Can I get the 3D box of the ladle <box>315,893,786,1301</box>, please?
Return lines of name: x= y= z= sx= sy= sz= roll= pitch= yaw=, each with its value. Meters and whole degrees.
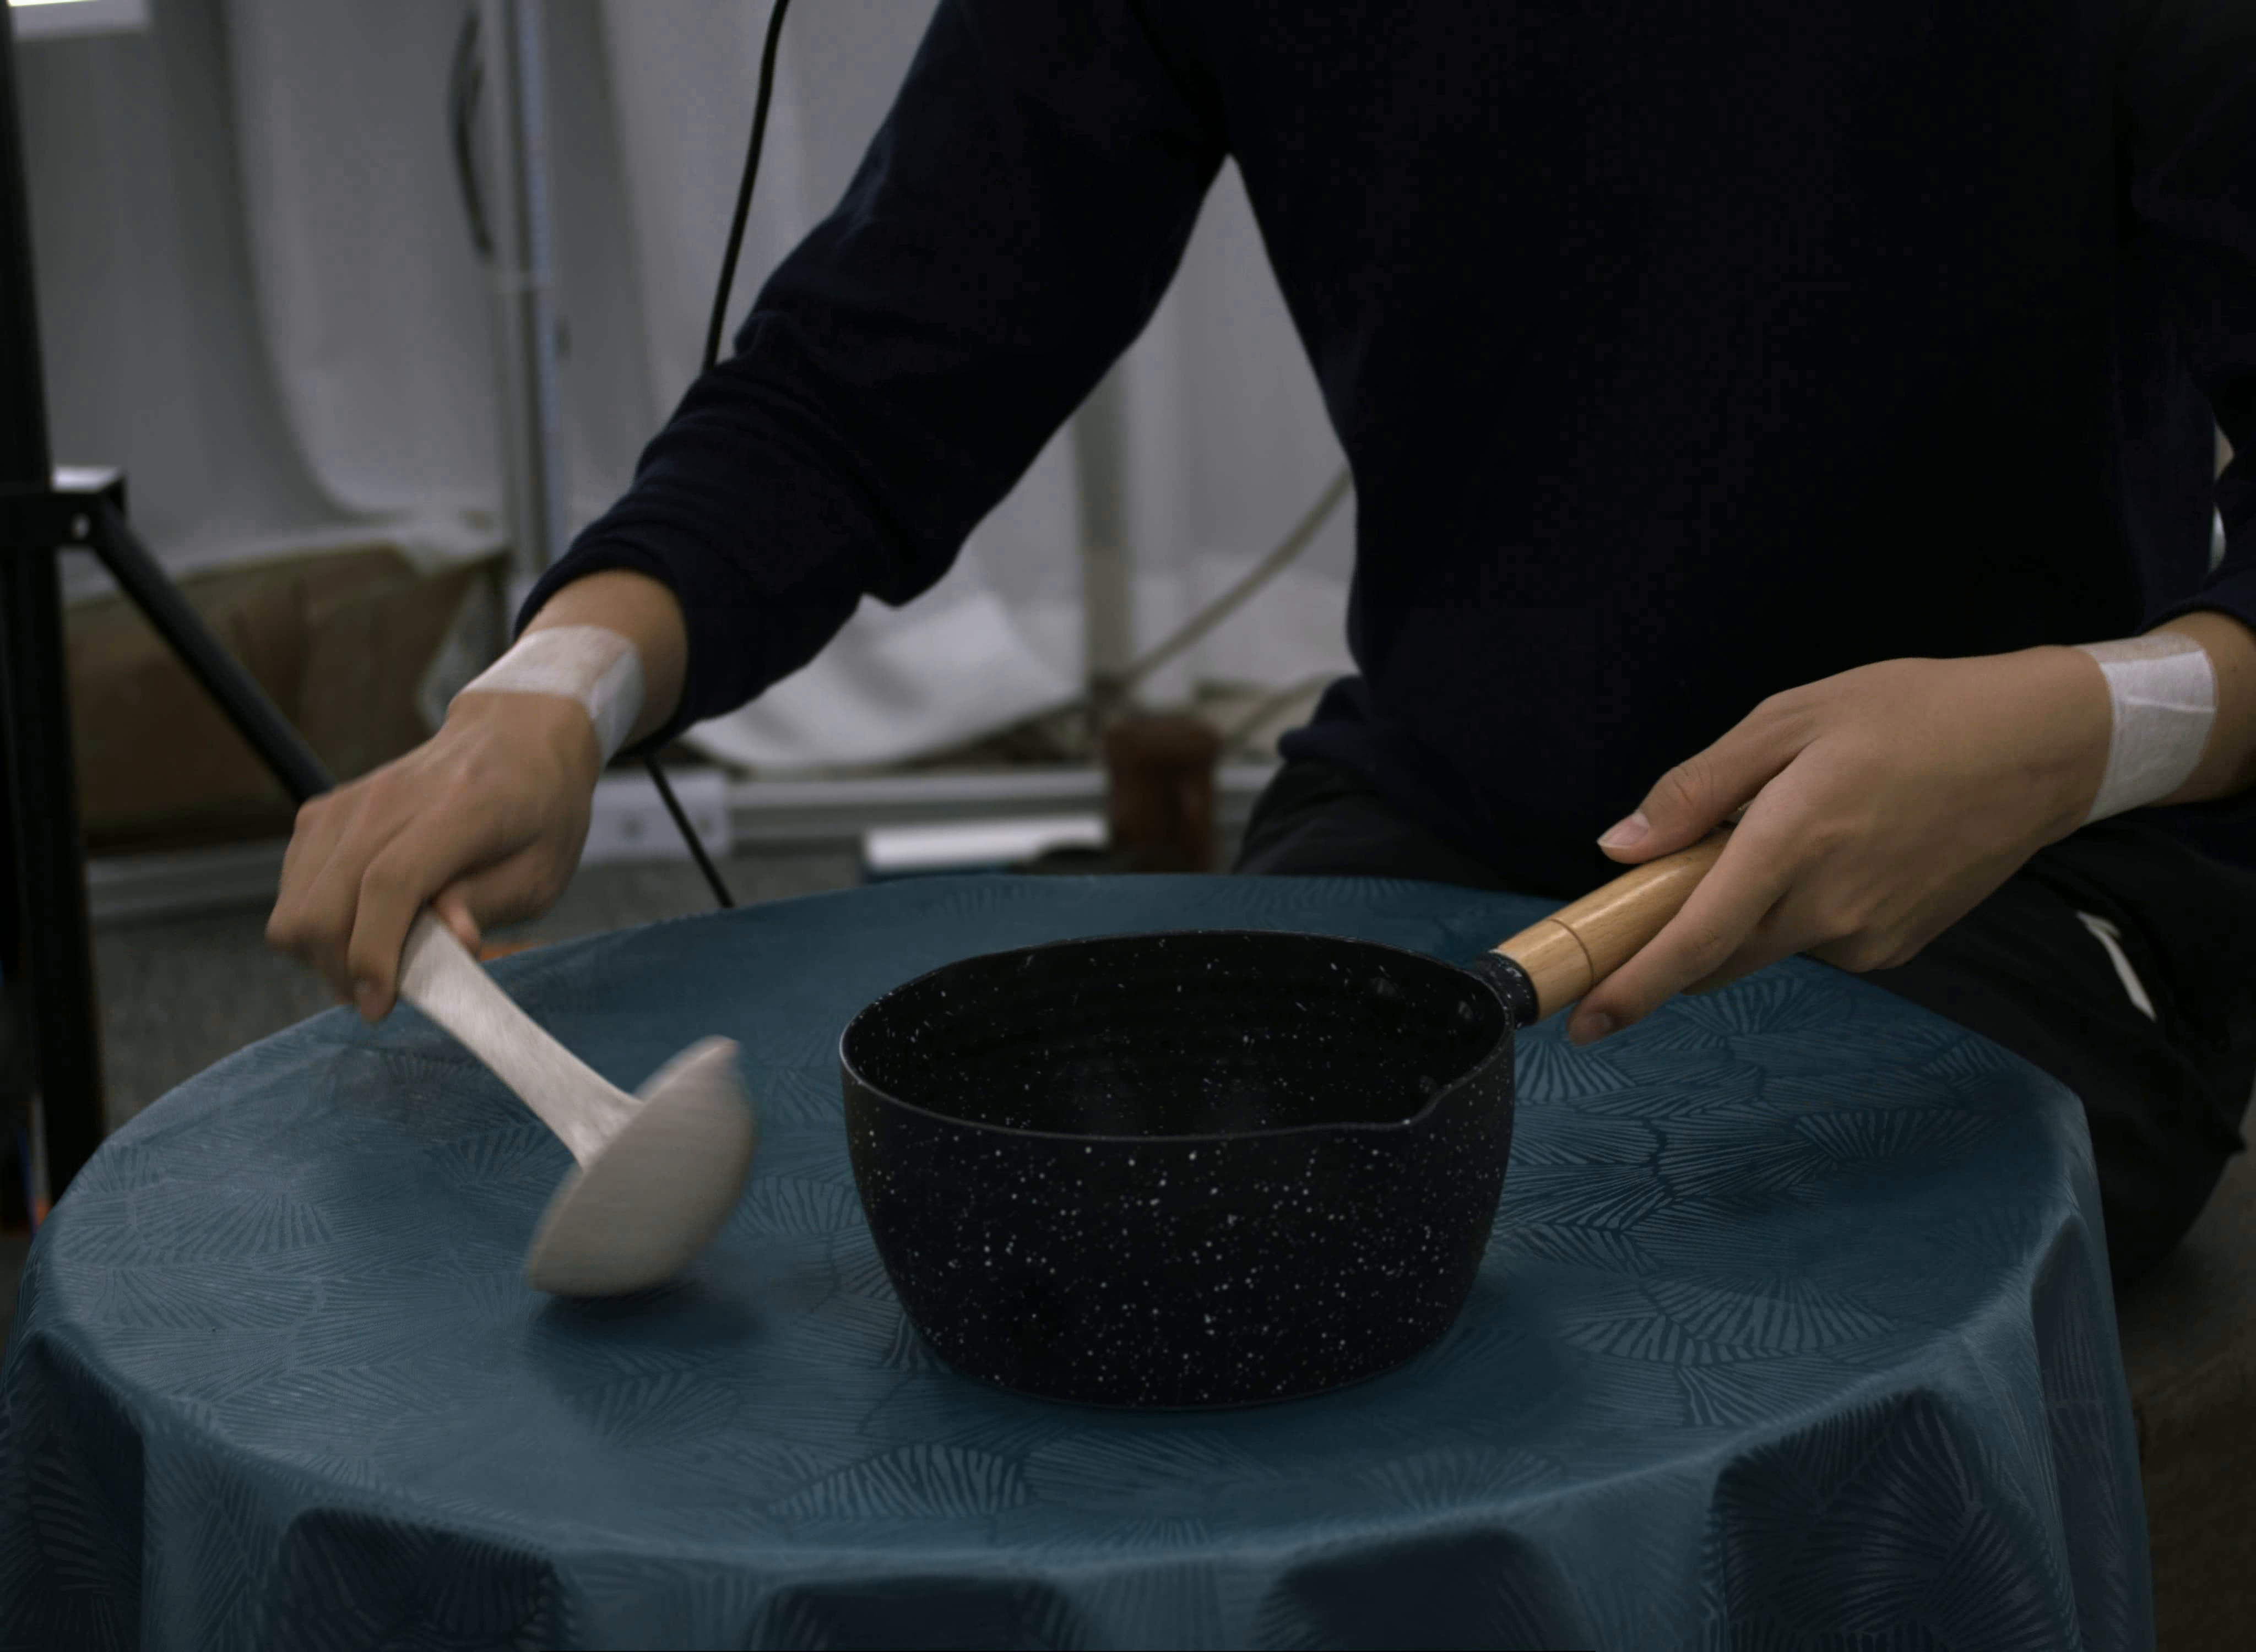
ladle: x=-0.191 y=0.058 z=1.572 sx=0.089 sy=0.068 sz=0.281 roll=-51 pitch=41 yaw=-6

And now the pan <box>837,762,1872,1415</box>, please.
pan: x=0.078 y=0.068 z=1.488 sx=0.335 sy=0.108 sz=0.212 roll=-15 pitch=19 yaw=-33
